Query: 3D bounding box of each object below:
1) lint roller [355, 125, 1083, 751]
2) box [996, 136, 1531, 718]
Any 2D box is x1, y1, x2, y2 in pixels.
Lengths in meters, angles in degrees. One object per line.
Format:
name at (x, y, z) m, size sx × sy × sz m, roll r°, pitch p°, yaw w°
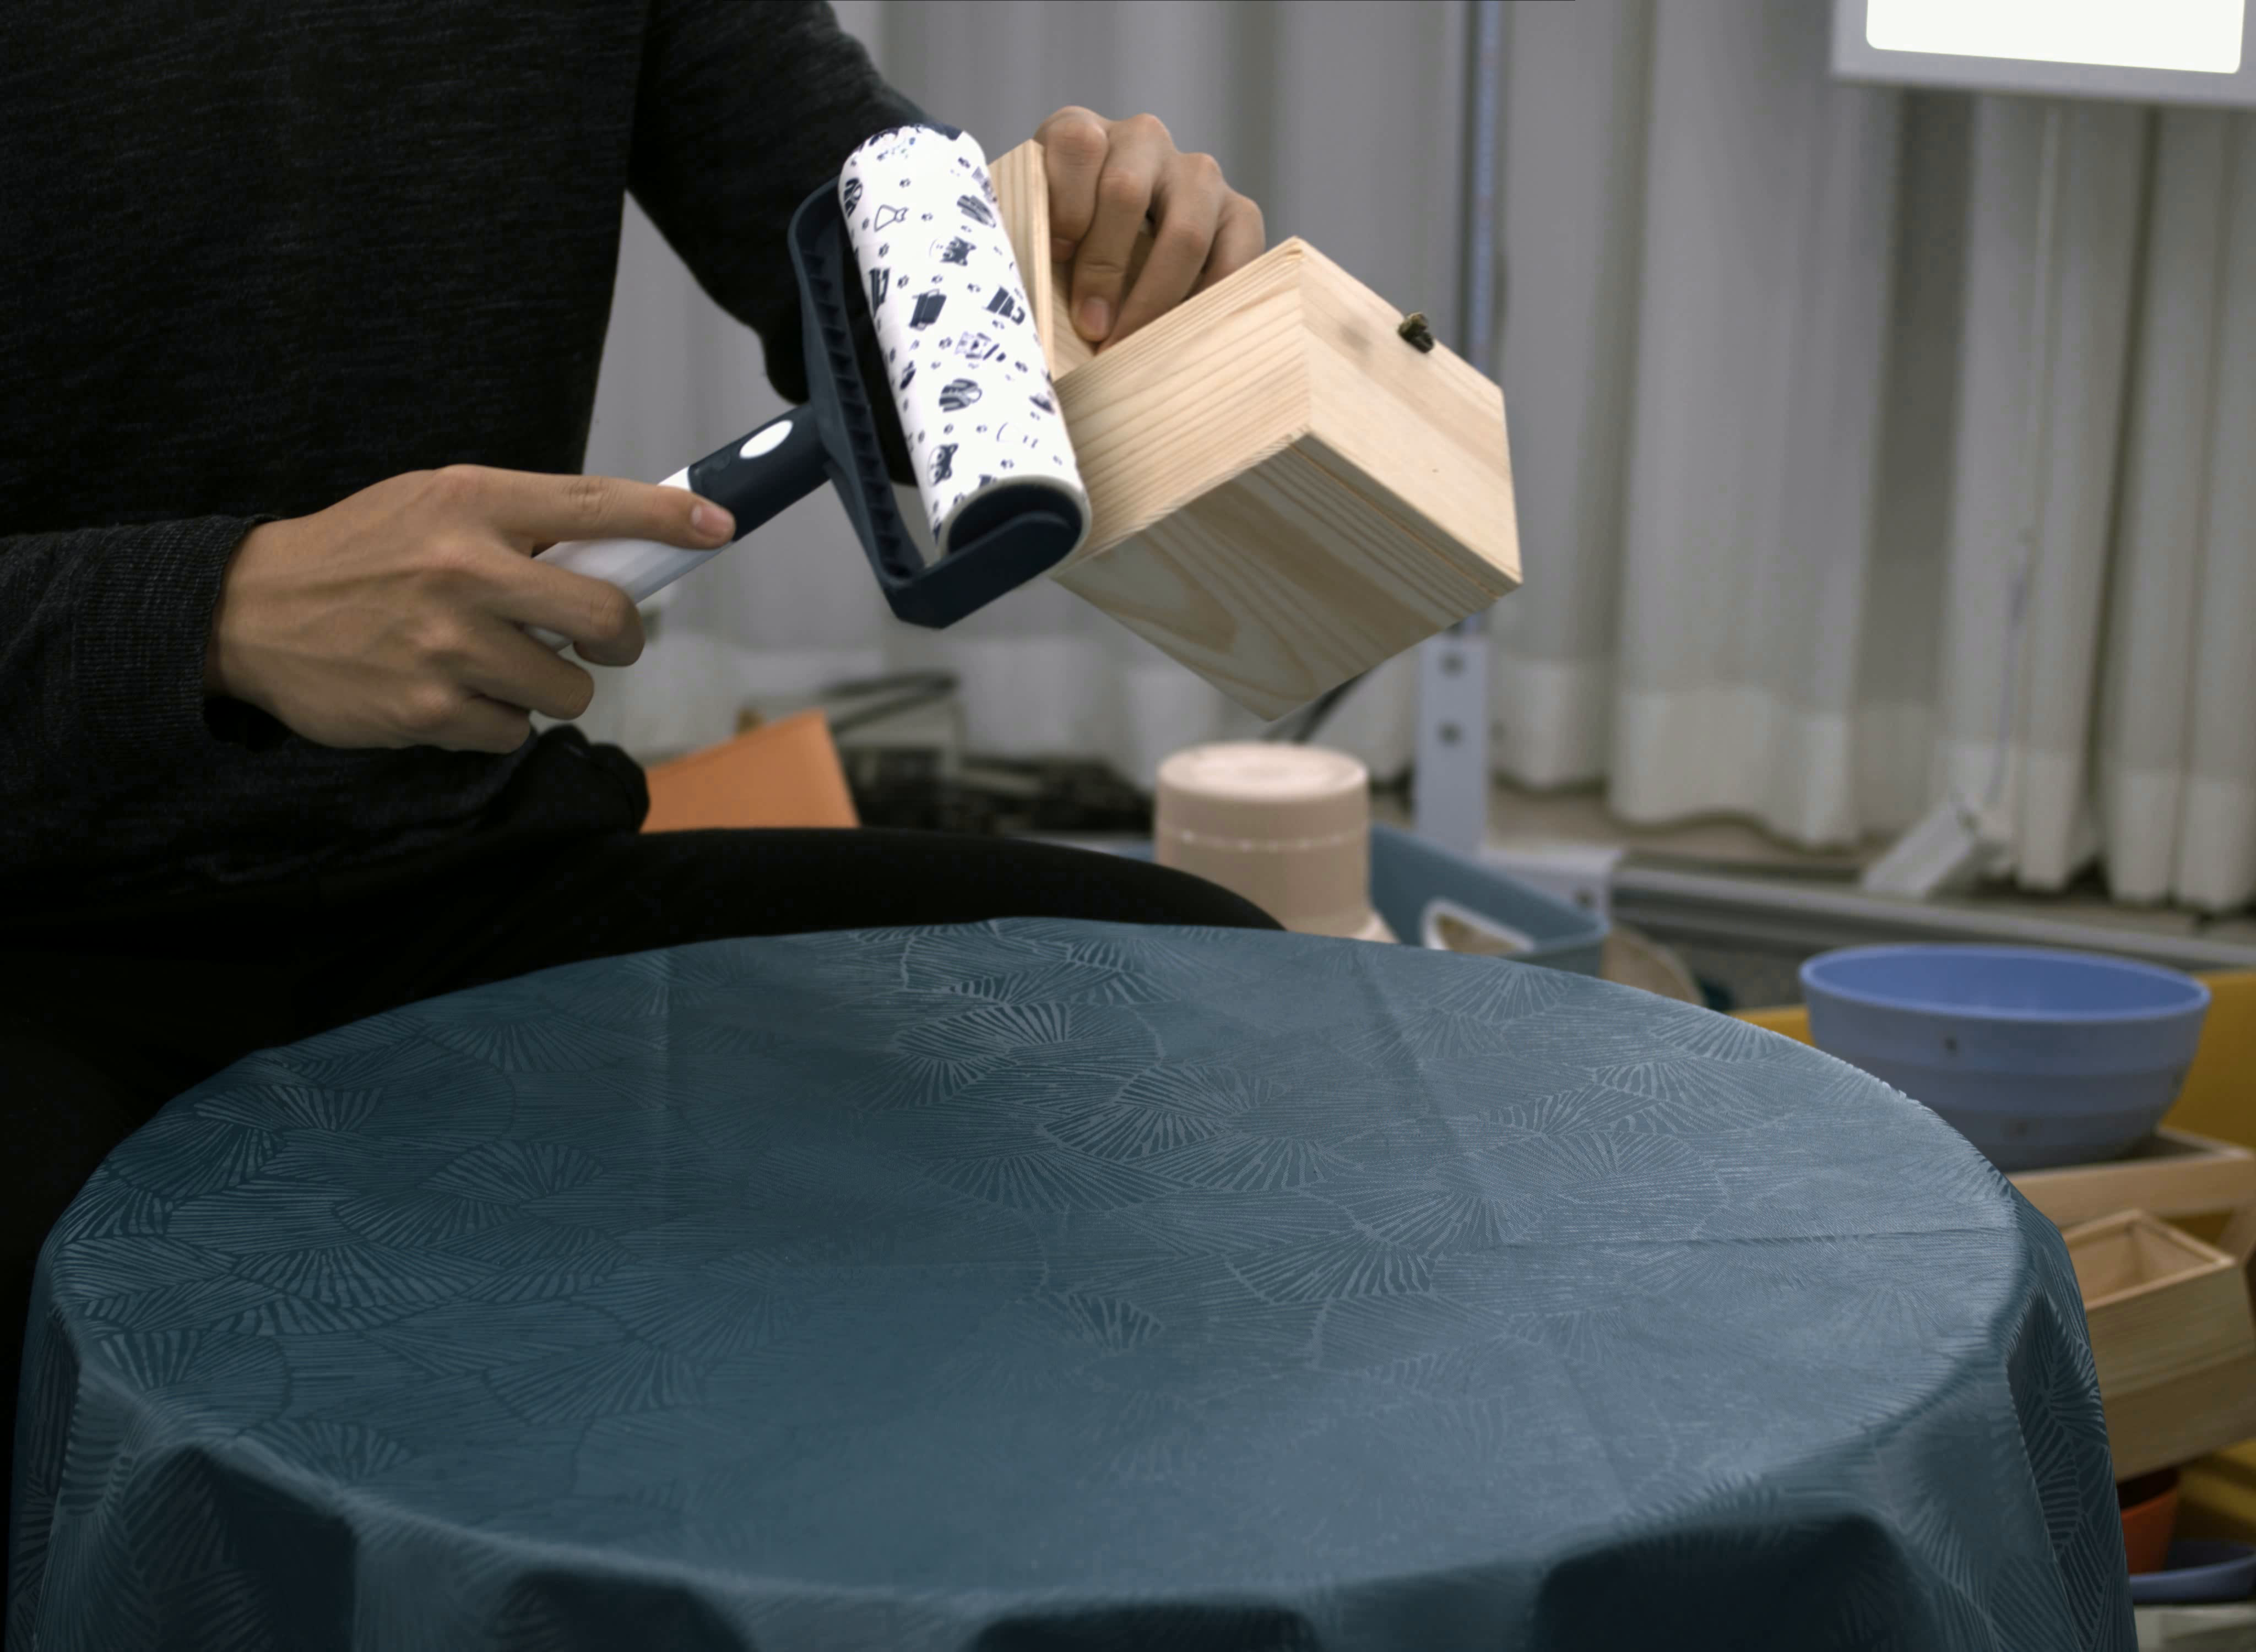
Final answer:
lint roller at (-0.136, -0.093, 1.596) m, size 0.246 × 0.051 × 0.174 m, roll -29°, pitch 49°, yaw 13°
box at (0.041, -0.144, 1.629) m, size 0.133 × 0.183 × 0.104 m, roll -29°, pitch -42°, yaw 31°
